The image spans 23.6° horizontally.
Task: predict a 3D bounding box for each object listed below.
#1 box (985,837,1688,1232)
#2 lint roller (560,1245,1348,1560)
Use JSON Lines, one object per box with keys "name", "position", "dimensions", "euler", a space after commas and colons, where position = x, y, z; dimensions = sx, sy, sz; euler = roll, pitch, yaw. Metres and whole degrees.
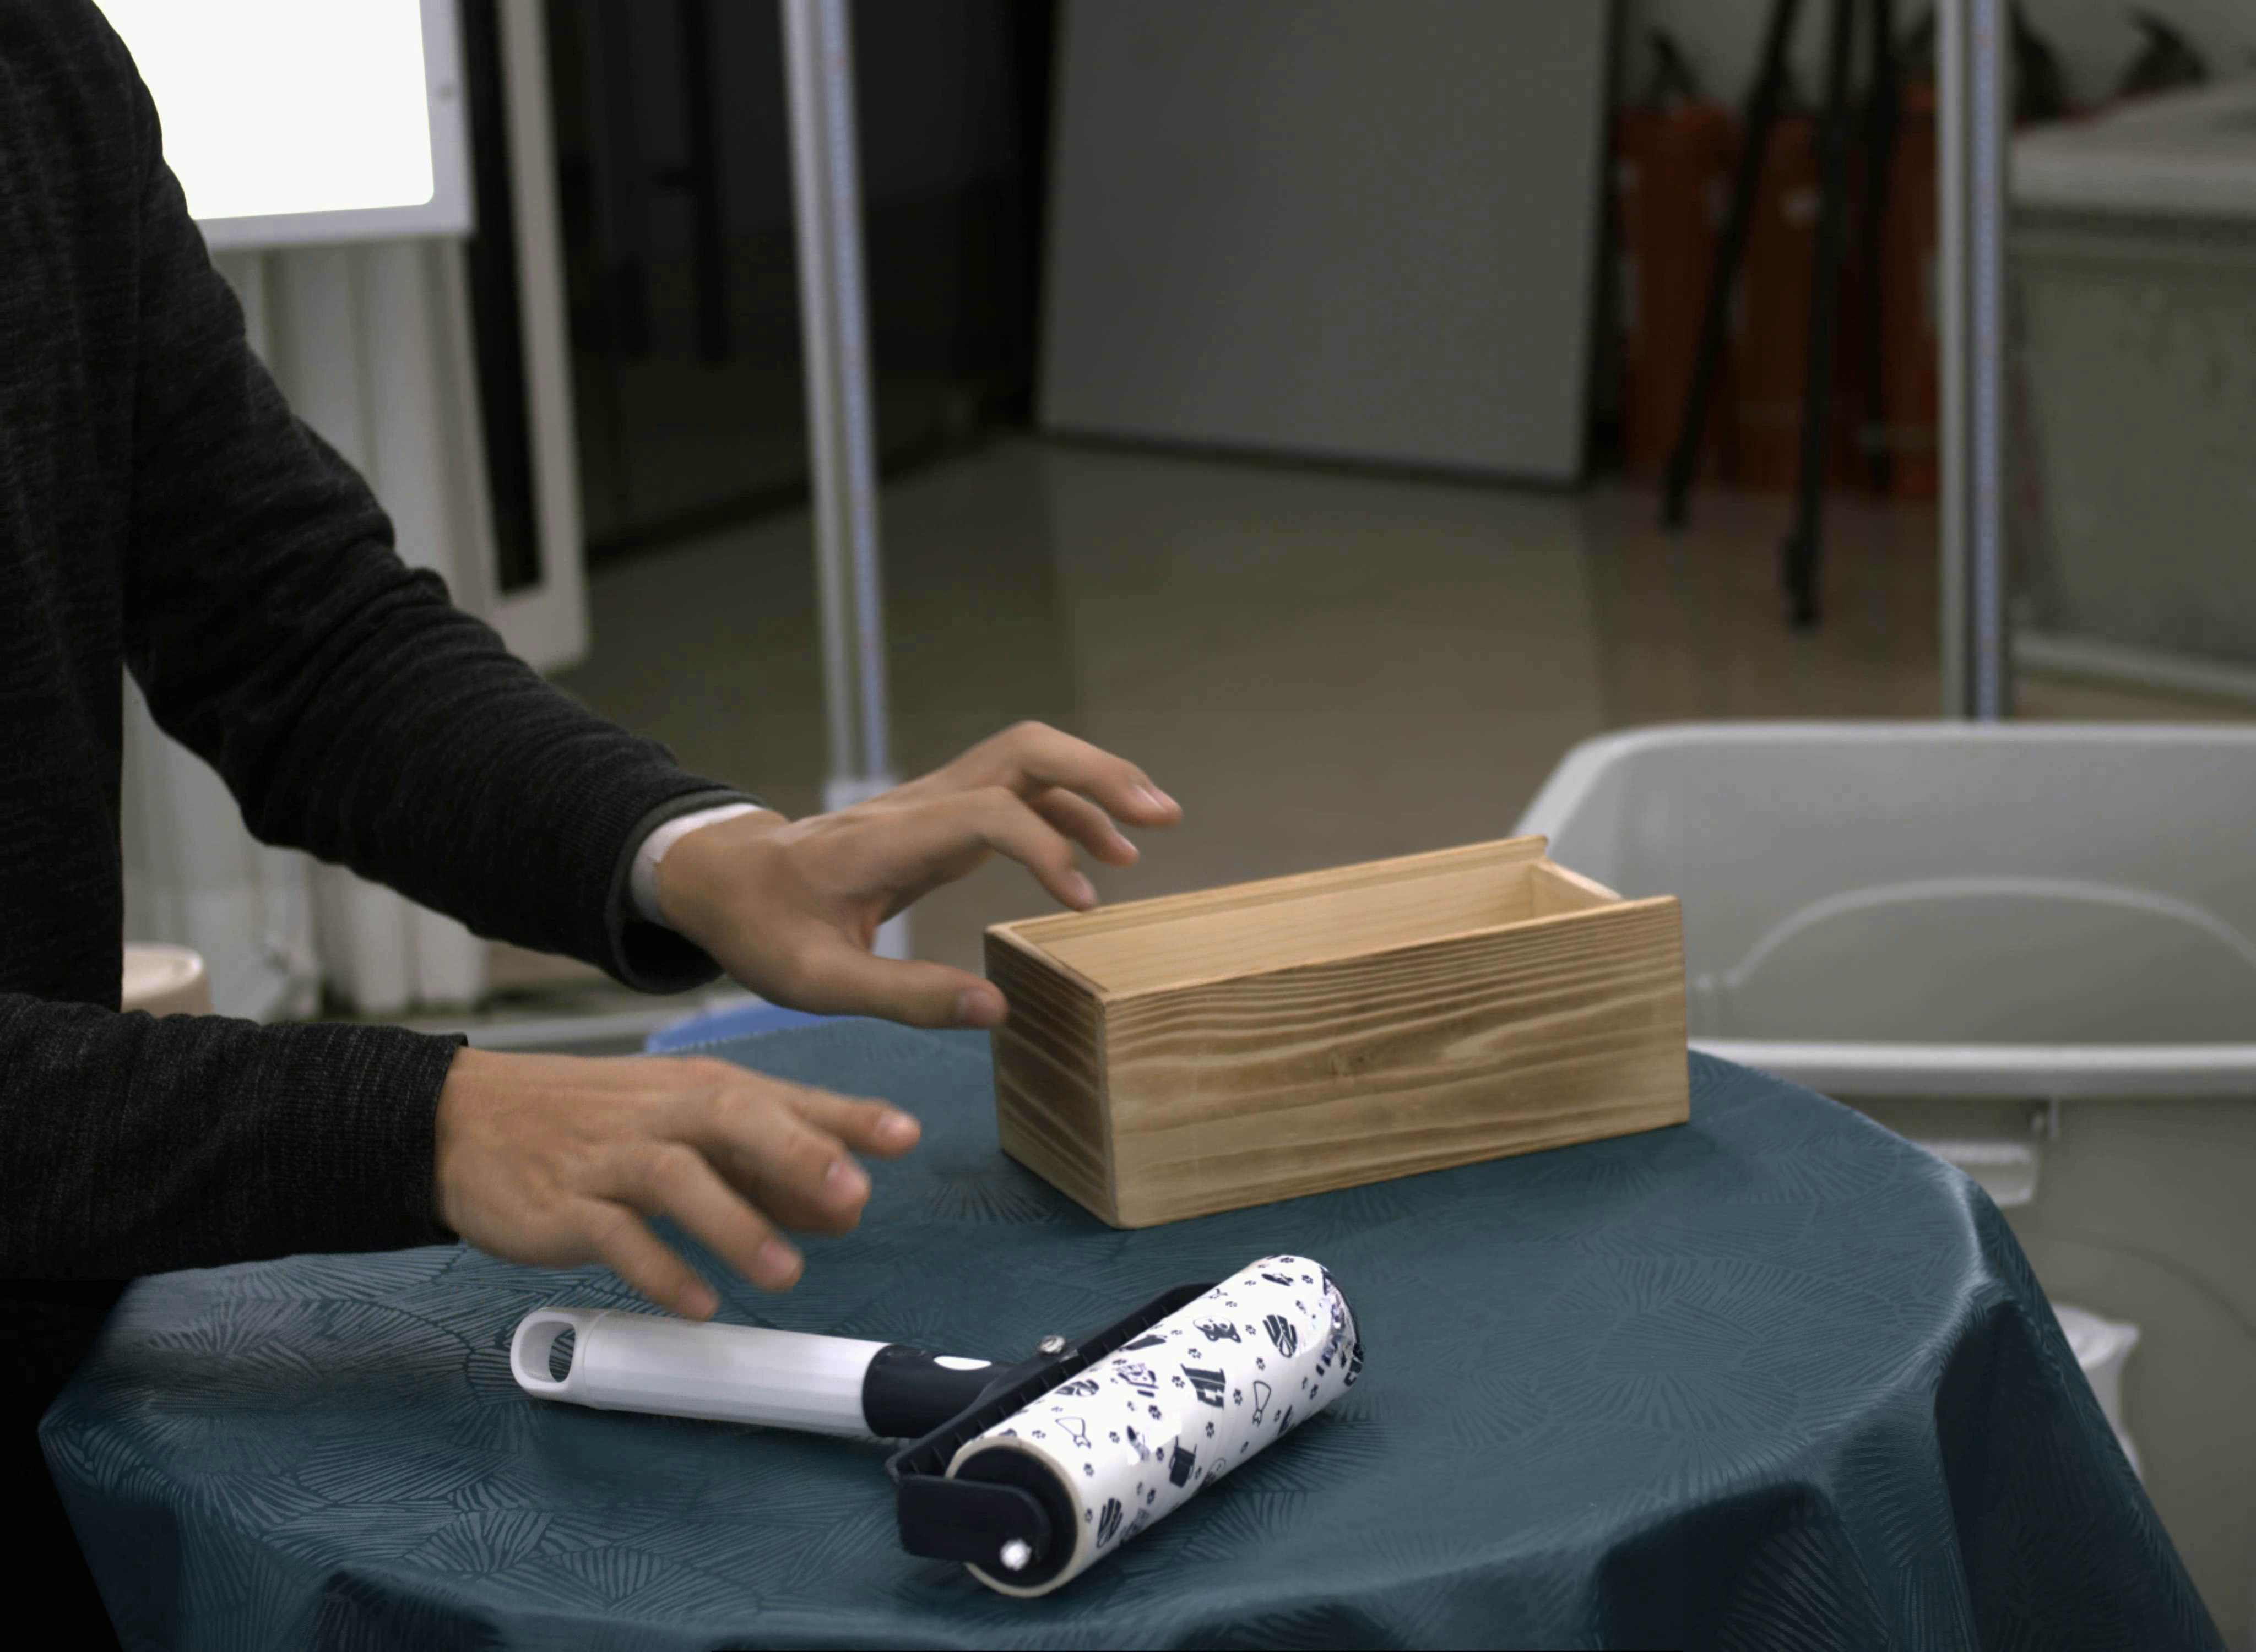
{"name": "box", "position": [0.070, 0.067, 1.801], "dimensions": [0.207, 0.081, 0.108], "euler": [-10, 14, -21]}
{"name": "lint roller", "position": [-0.079, 0.147, 1.566], "dimensions": [0.249, 0.051, 0.173], "euler": [10, 18, 42]}
